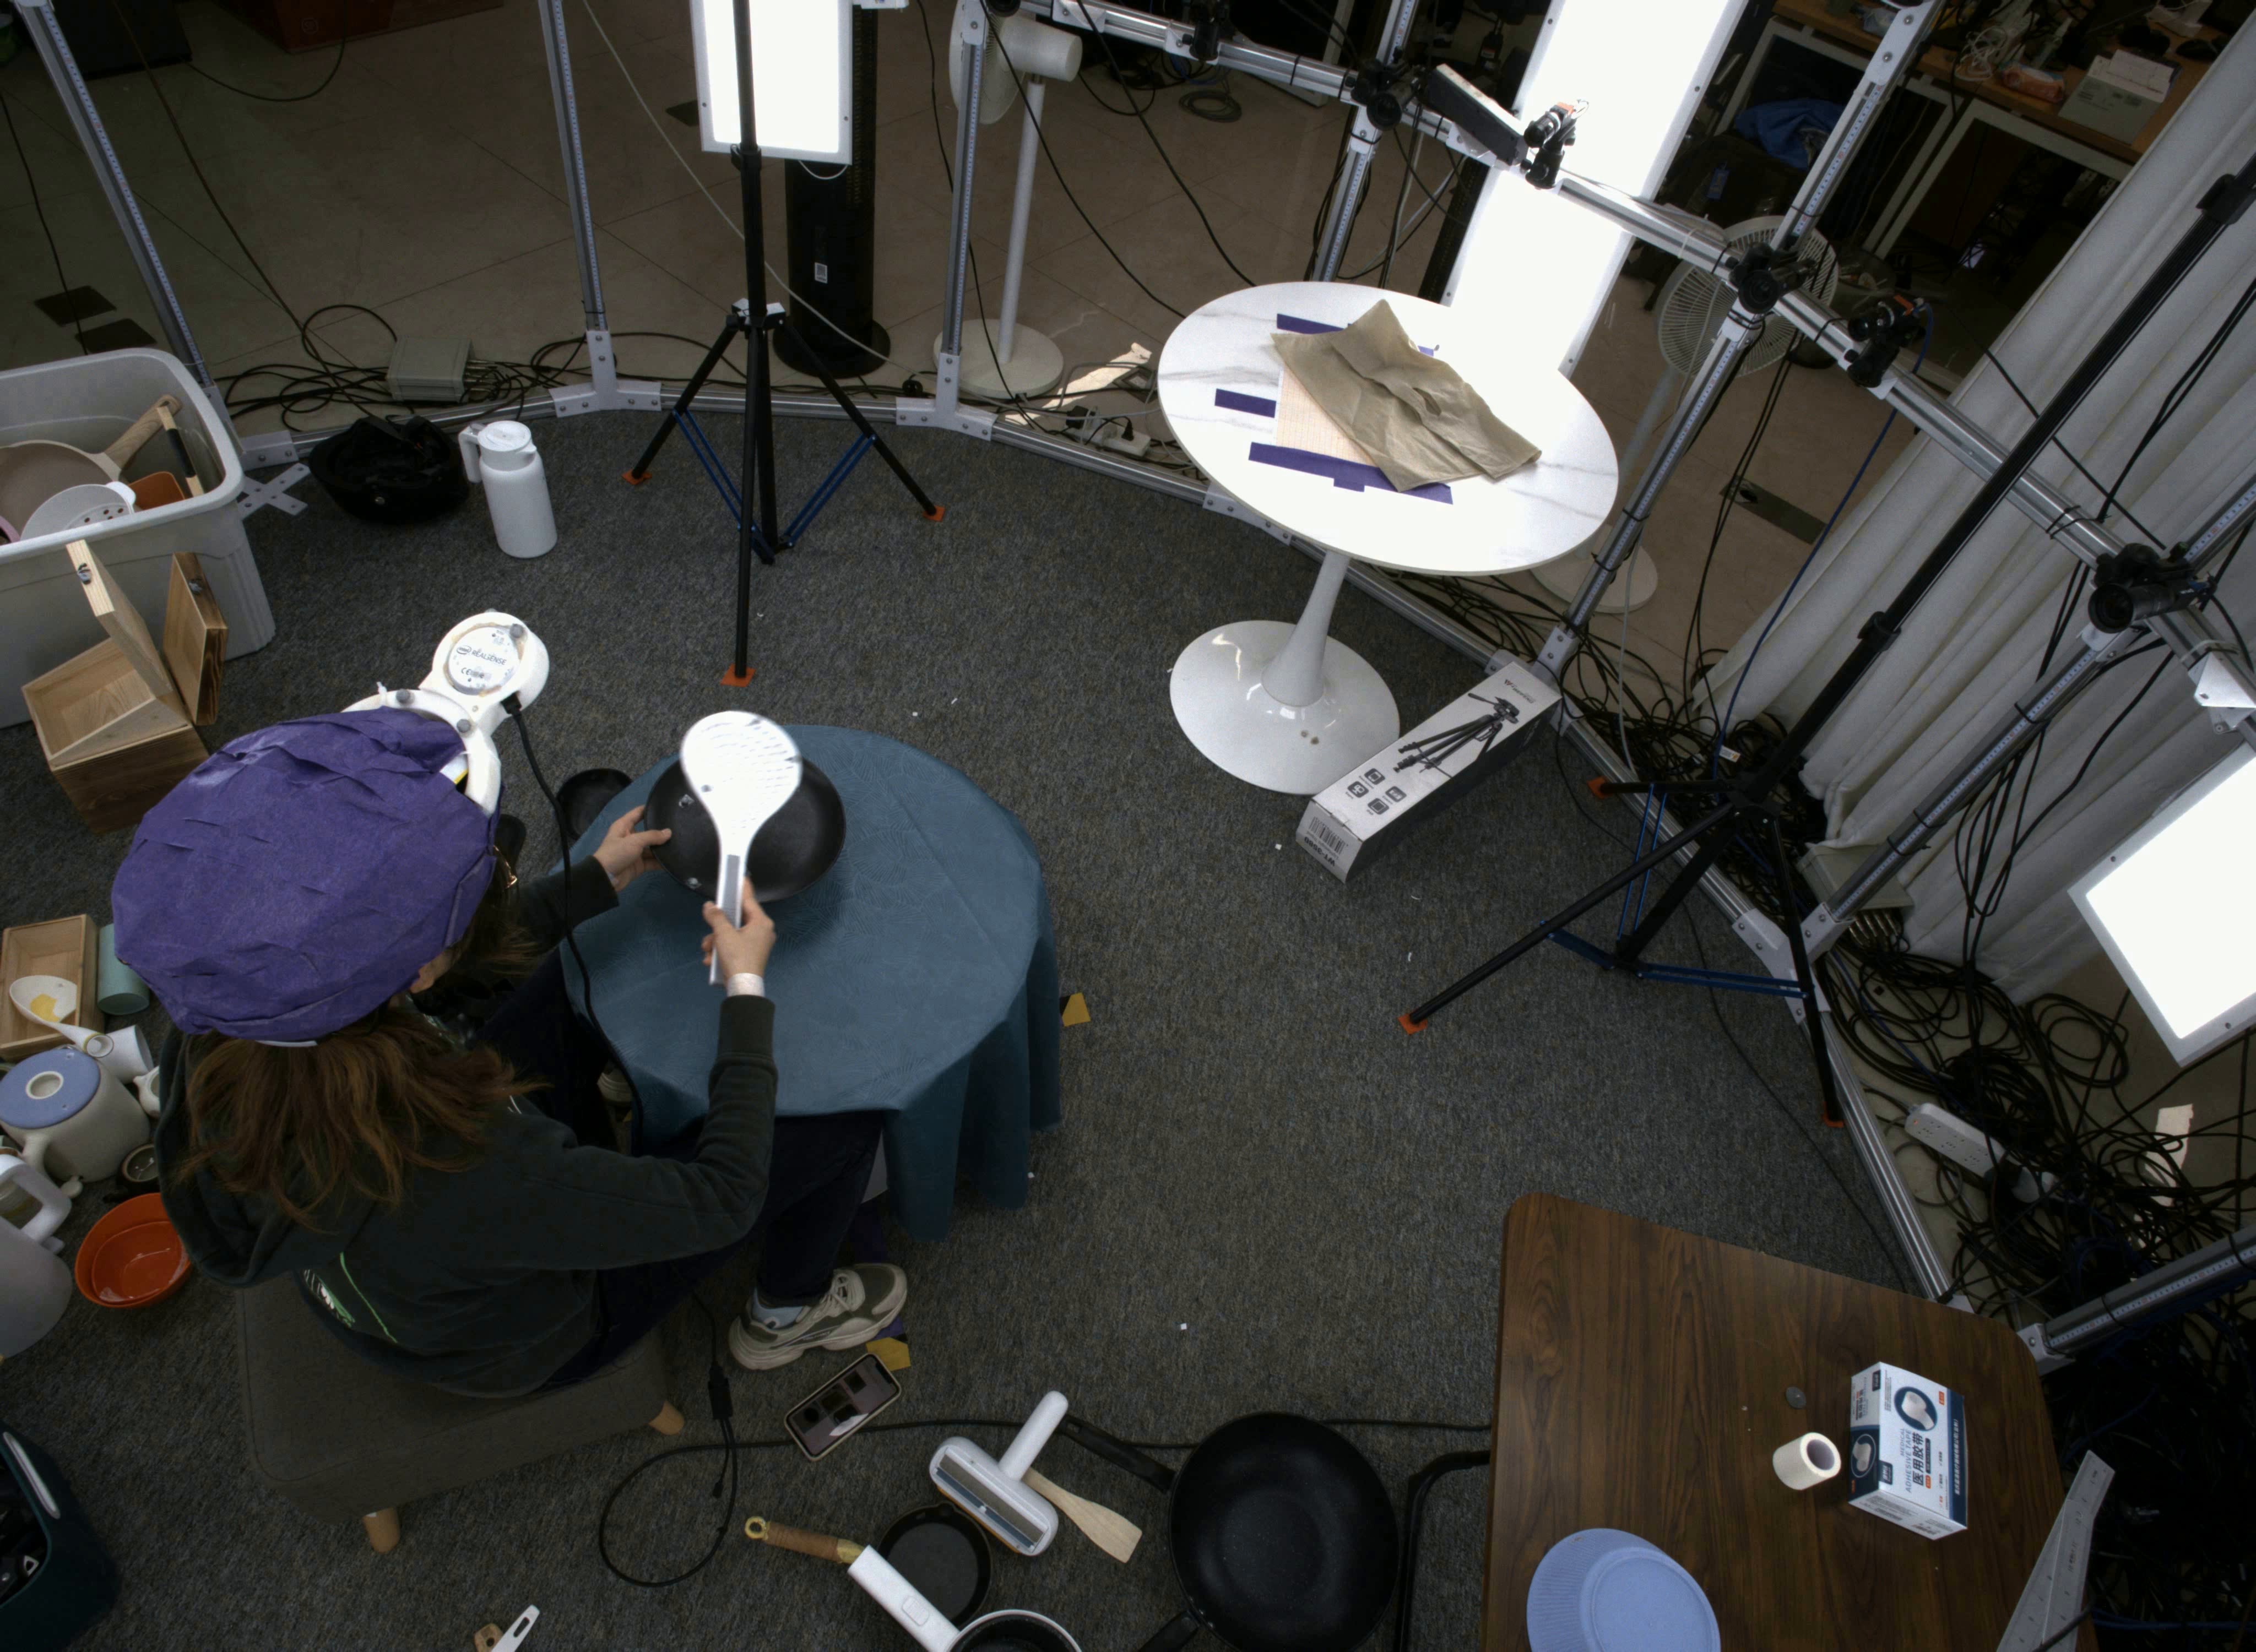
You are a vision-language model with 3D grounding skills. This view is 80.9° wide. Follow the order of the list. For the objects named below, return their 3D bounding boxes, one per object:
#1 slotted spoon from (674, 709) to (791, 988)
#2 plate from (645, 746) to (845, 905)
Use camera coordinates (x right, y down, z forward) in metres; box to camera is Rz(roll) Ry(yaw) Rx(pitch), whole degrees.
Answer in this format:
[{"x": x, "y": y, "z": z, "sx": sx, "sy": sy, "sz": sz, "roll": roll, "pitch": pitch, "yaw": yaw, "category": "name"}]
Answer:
[{"x": -0.454, "y": 0.018, "z": 1.460, "sx": 0.138, "sy": 0.046, "sz": 0.343, "roll": 10, "pitch": 53, "yaw": -27, "category": "slotted spoon"}, {"x": -0.476, "y": -0.005, "z": 1.607, "sx": 0.245, "sy": 0.024, "sz": 0.240, "roll": 11, "pitch": 55, "yaw": -14, "category": "plate"}]
